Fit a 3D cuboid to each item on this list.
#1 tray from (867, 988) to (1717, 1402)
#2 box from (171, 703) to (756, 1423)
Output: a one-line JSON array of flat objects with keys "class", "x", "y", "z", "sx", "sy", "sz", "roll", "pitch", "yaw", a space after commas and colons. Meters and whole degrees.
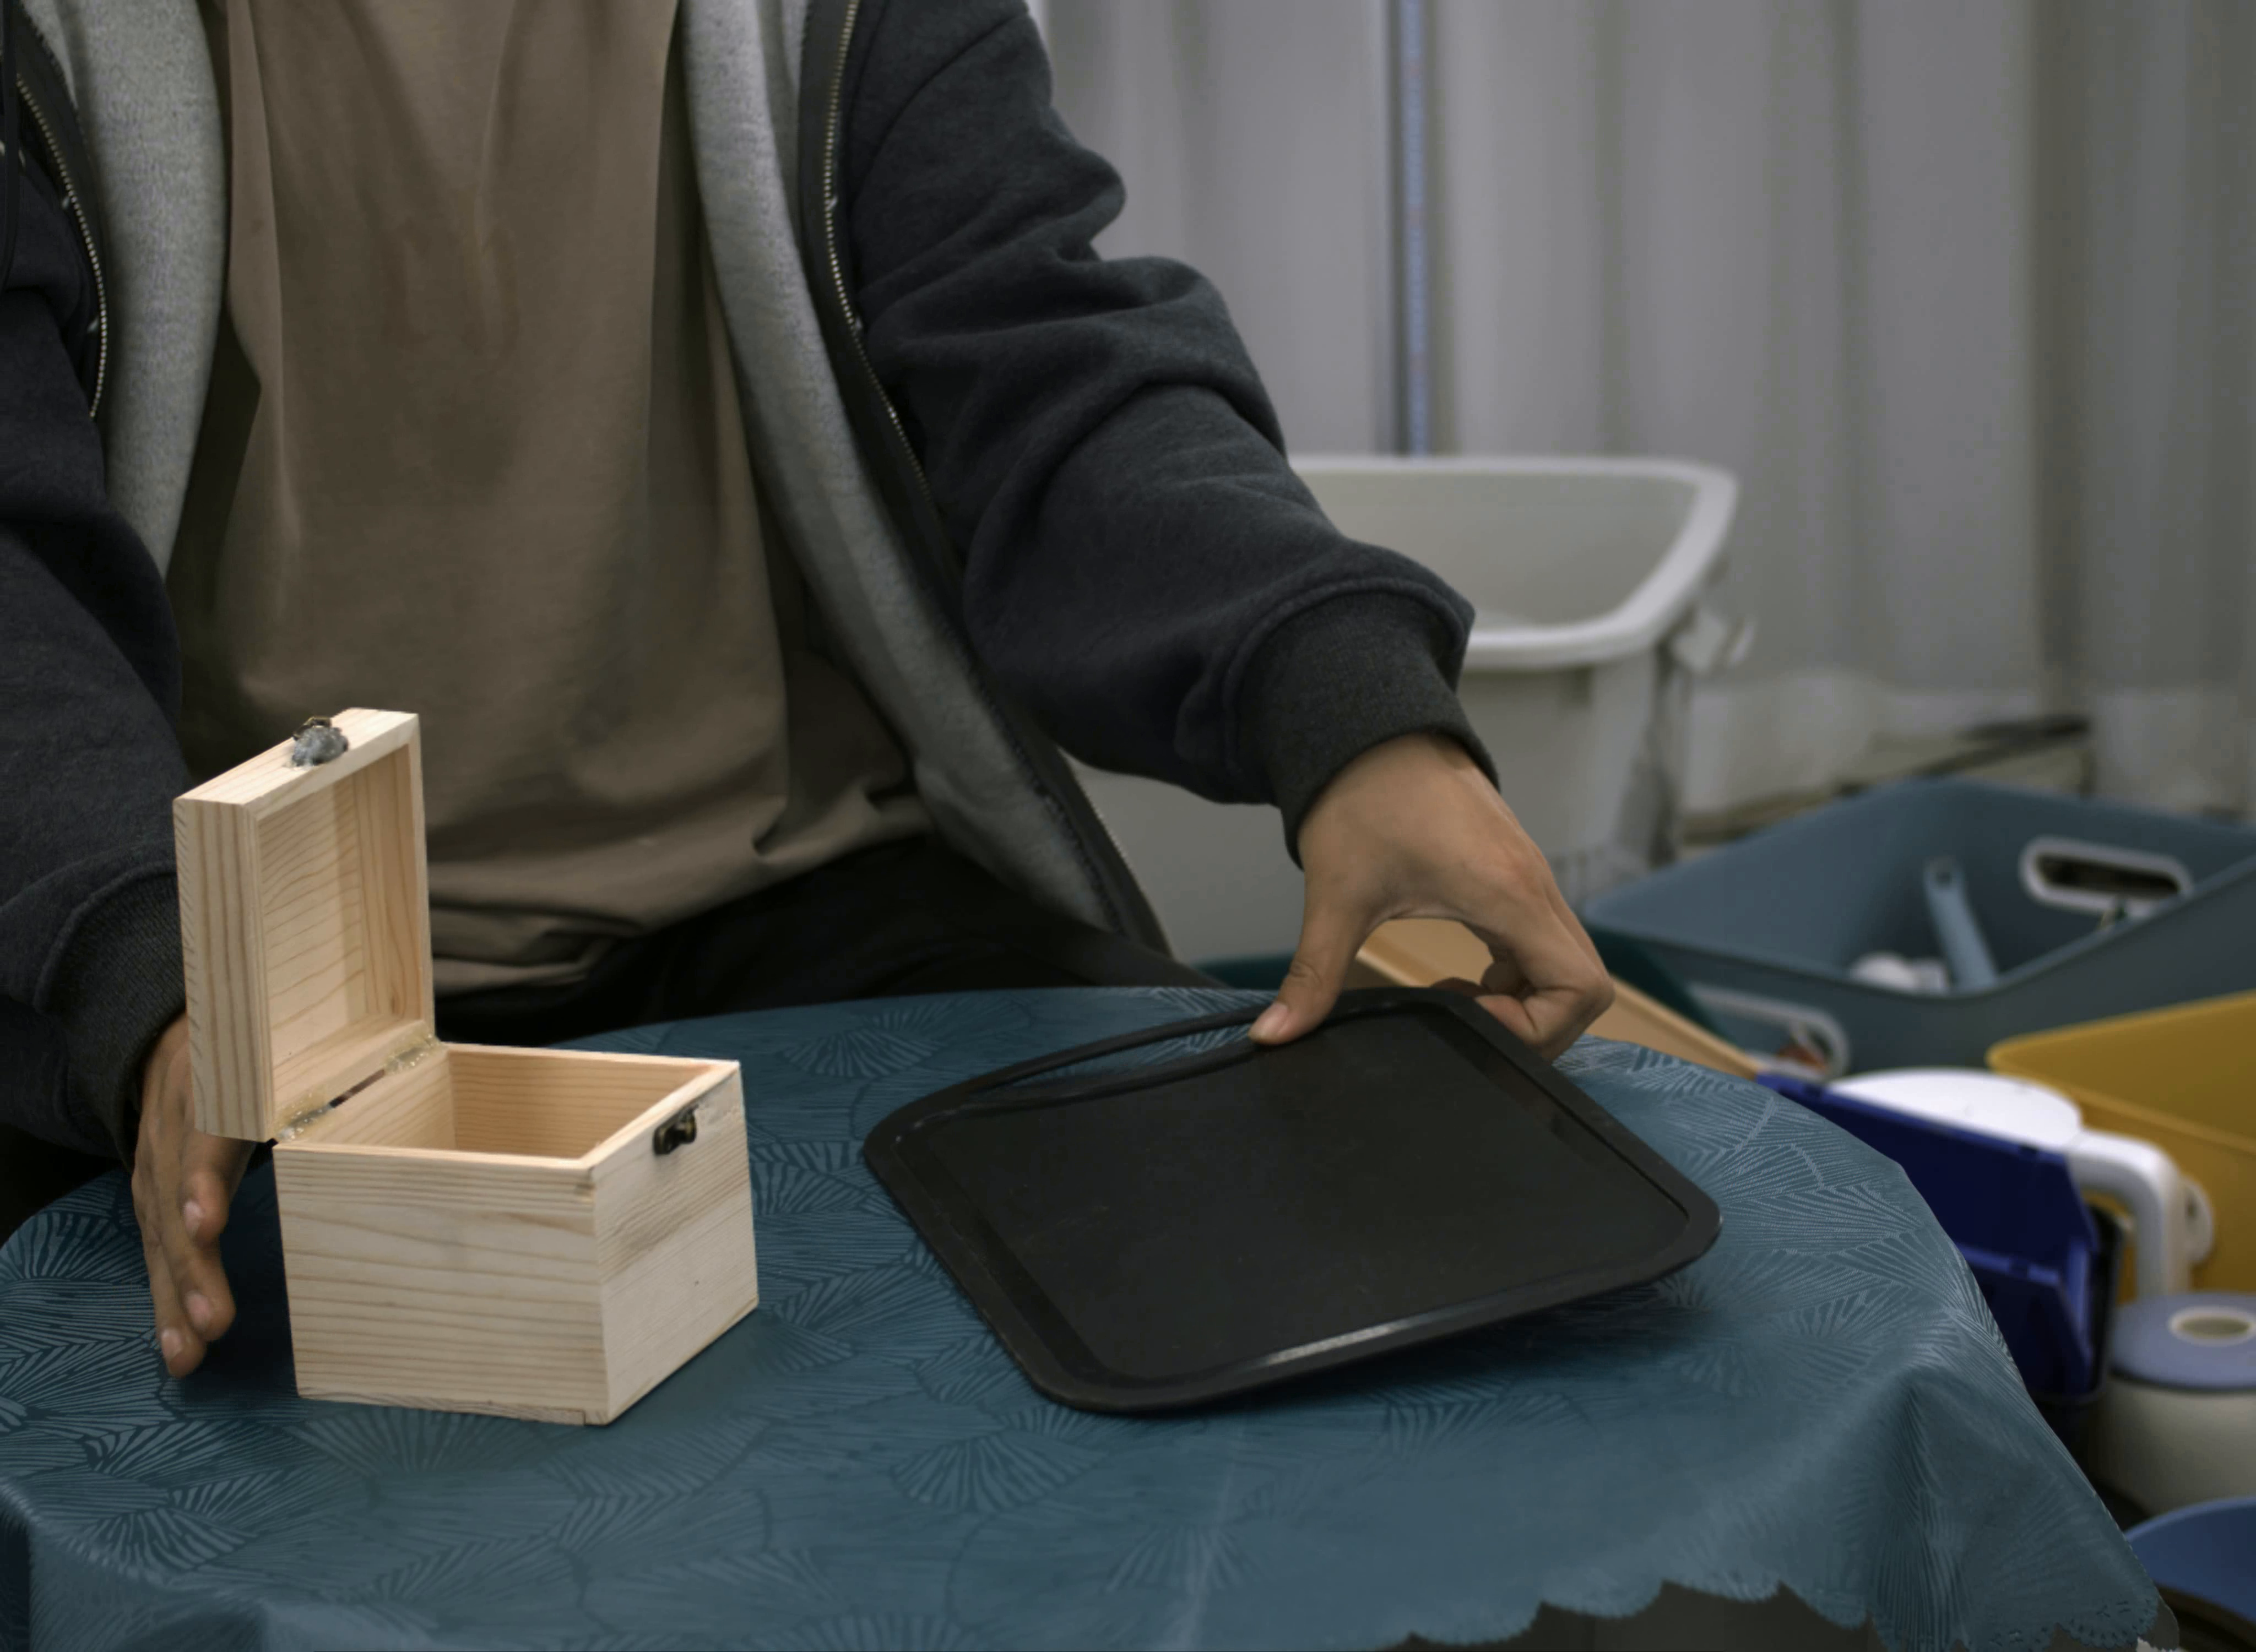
[{"class": "tray", "x": 0.039, "y": 0.105, "z": 1.685, "sx": 0.210, "sy": 0.010, "sz": 0.328, "roll": -13, "pitch": 17, "yaw": -11}, {"class": "box", "x": -0.188, "y": 0.065, "z": 1.582, "sx": 0.134, "sy": 0.184, "sz": 0.103, "roll": 2, "pitch": 15, "yaw": 21}]
